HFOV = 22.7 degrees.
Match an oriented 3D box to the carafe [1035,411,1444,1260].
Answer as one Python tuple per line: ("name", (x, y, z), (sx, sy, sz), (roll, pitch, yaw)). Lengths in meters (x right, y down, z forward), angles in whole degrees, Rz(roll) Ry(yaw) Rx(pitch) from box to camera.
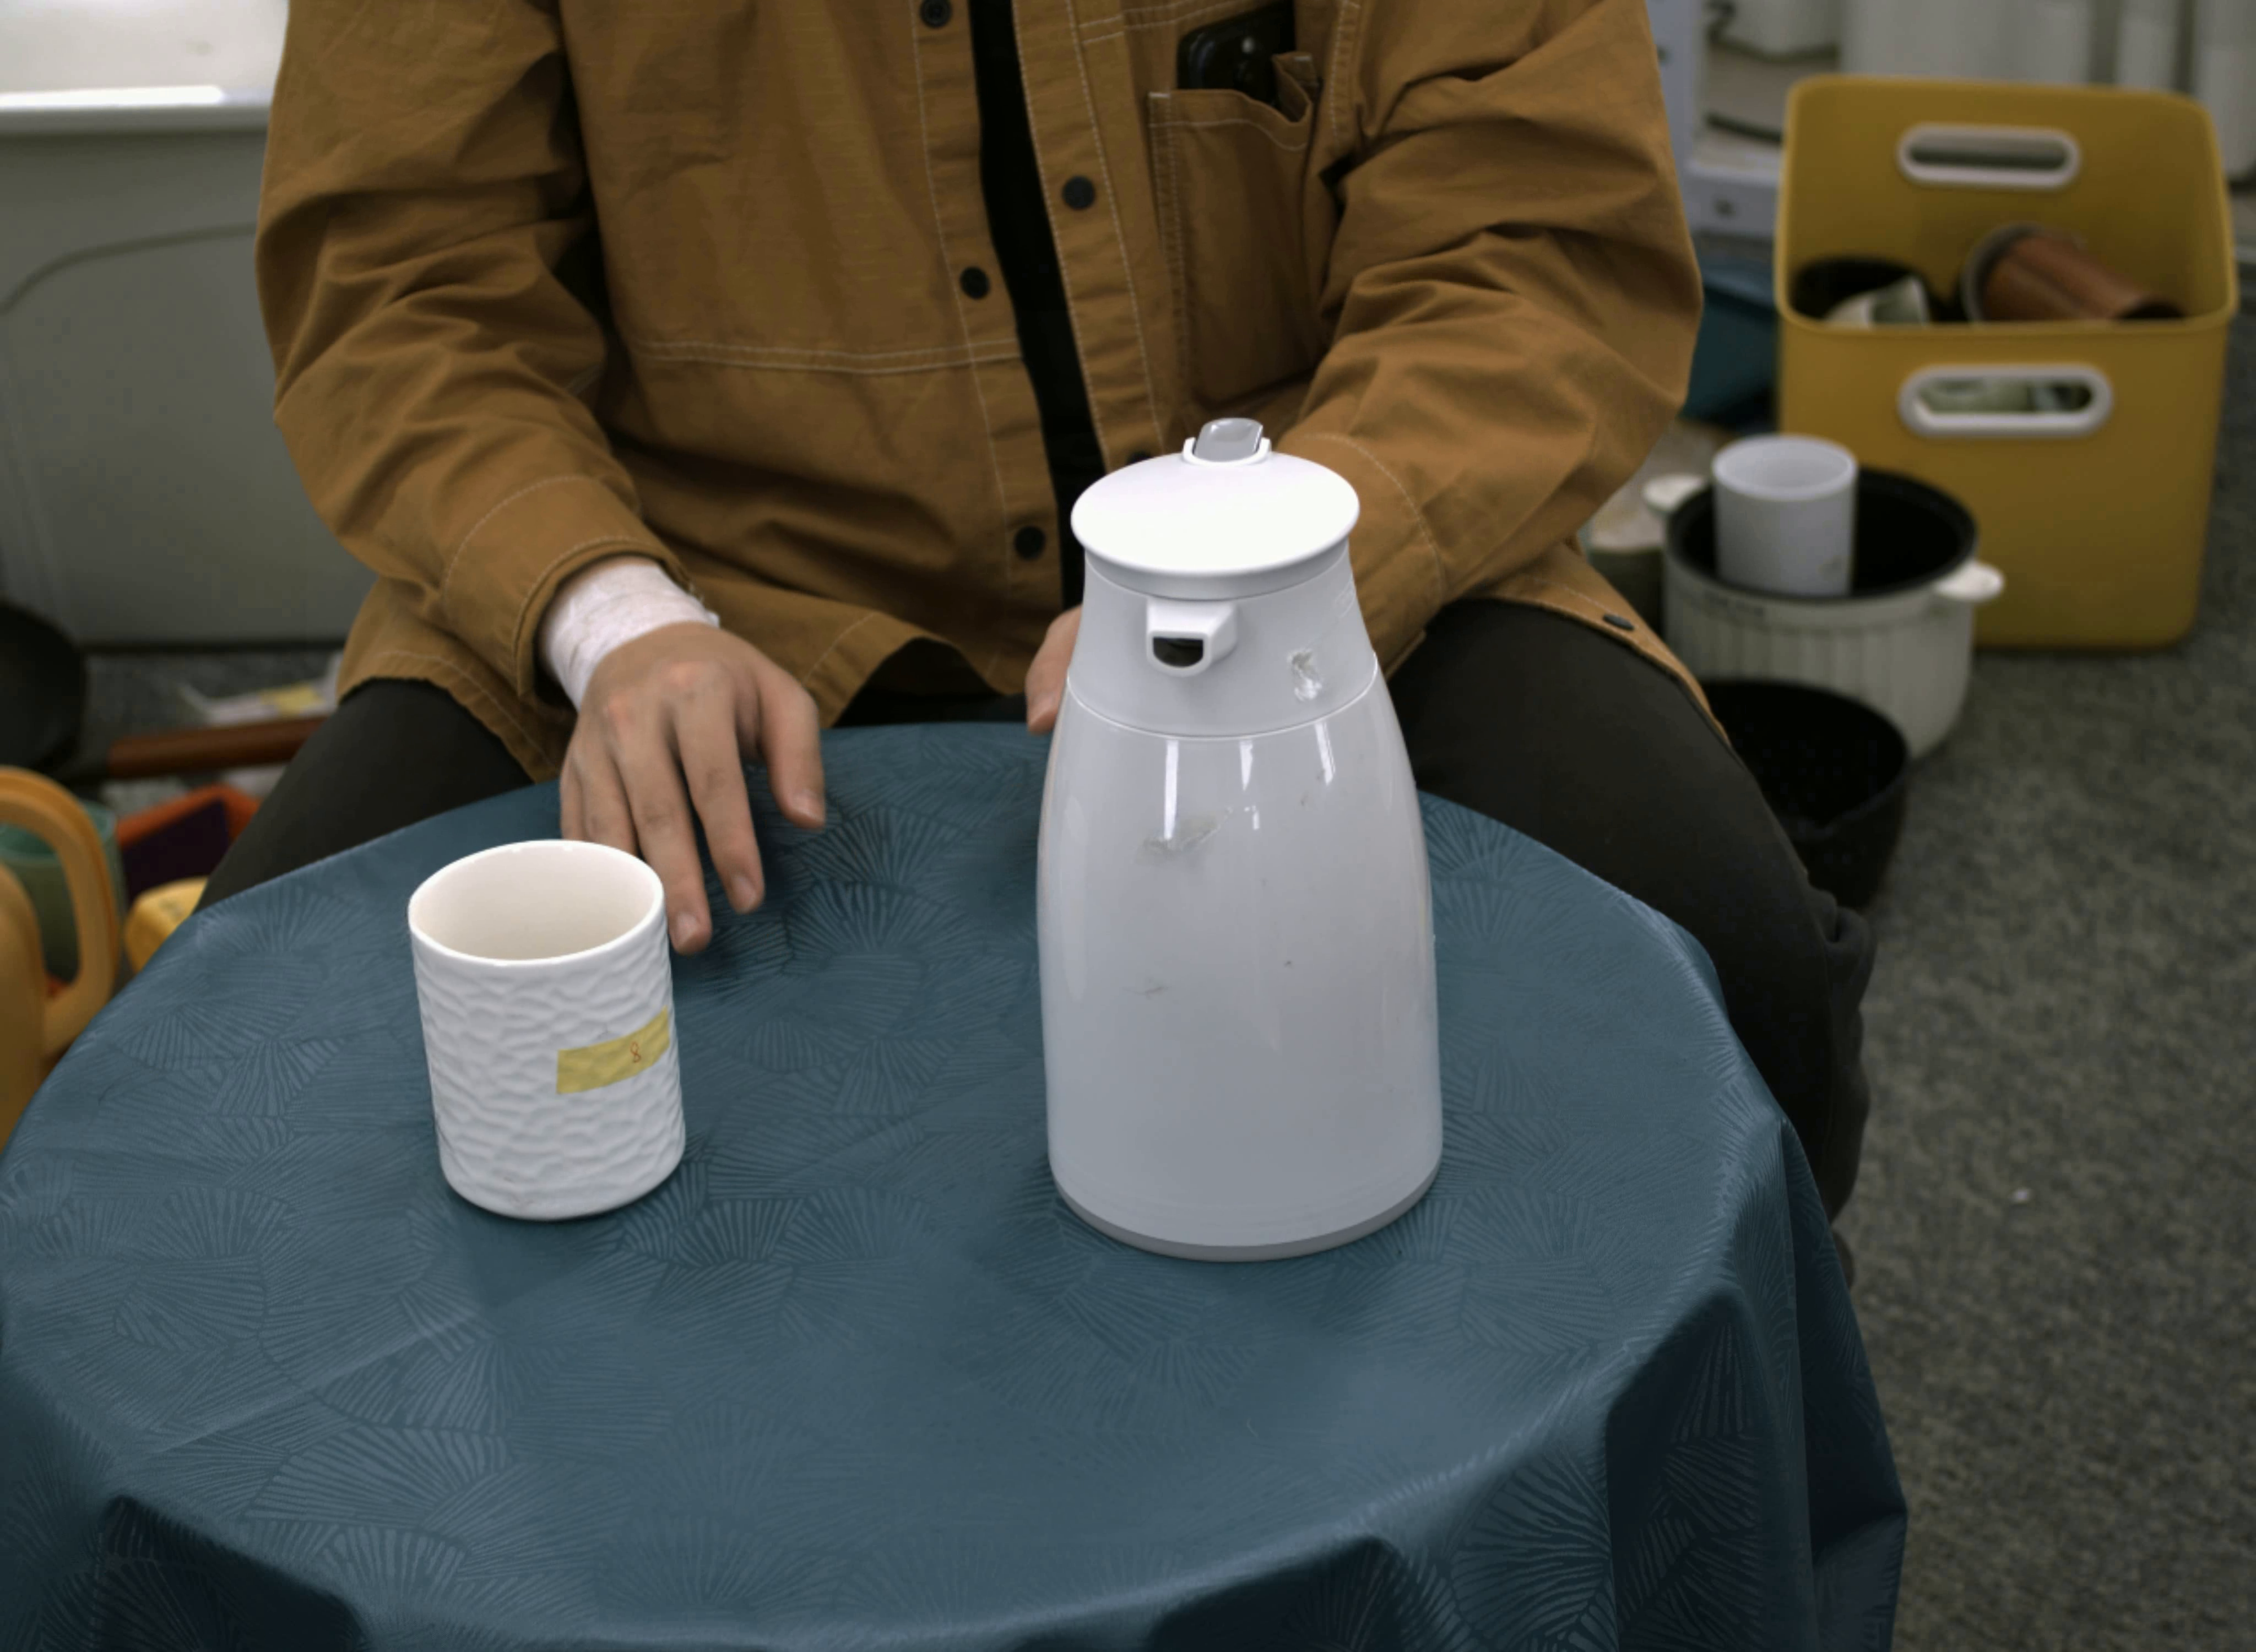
("carafe", (0.035, -0.007, 1.838), (0.131, 0.246, 0.170), (1, 26, 11))

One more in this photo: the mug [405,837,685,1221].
("mug", (-0.199, 0.062, 1.883), (0.085, 0.101, 0.119), (-12, 28, -18))
